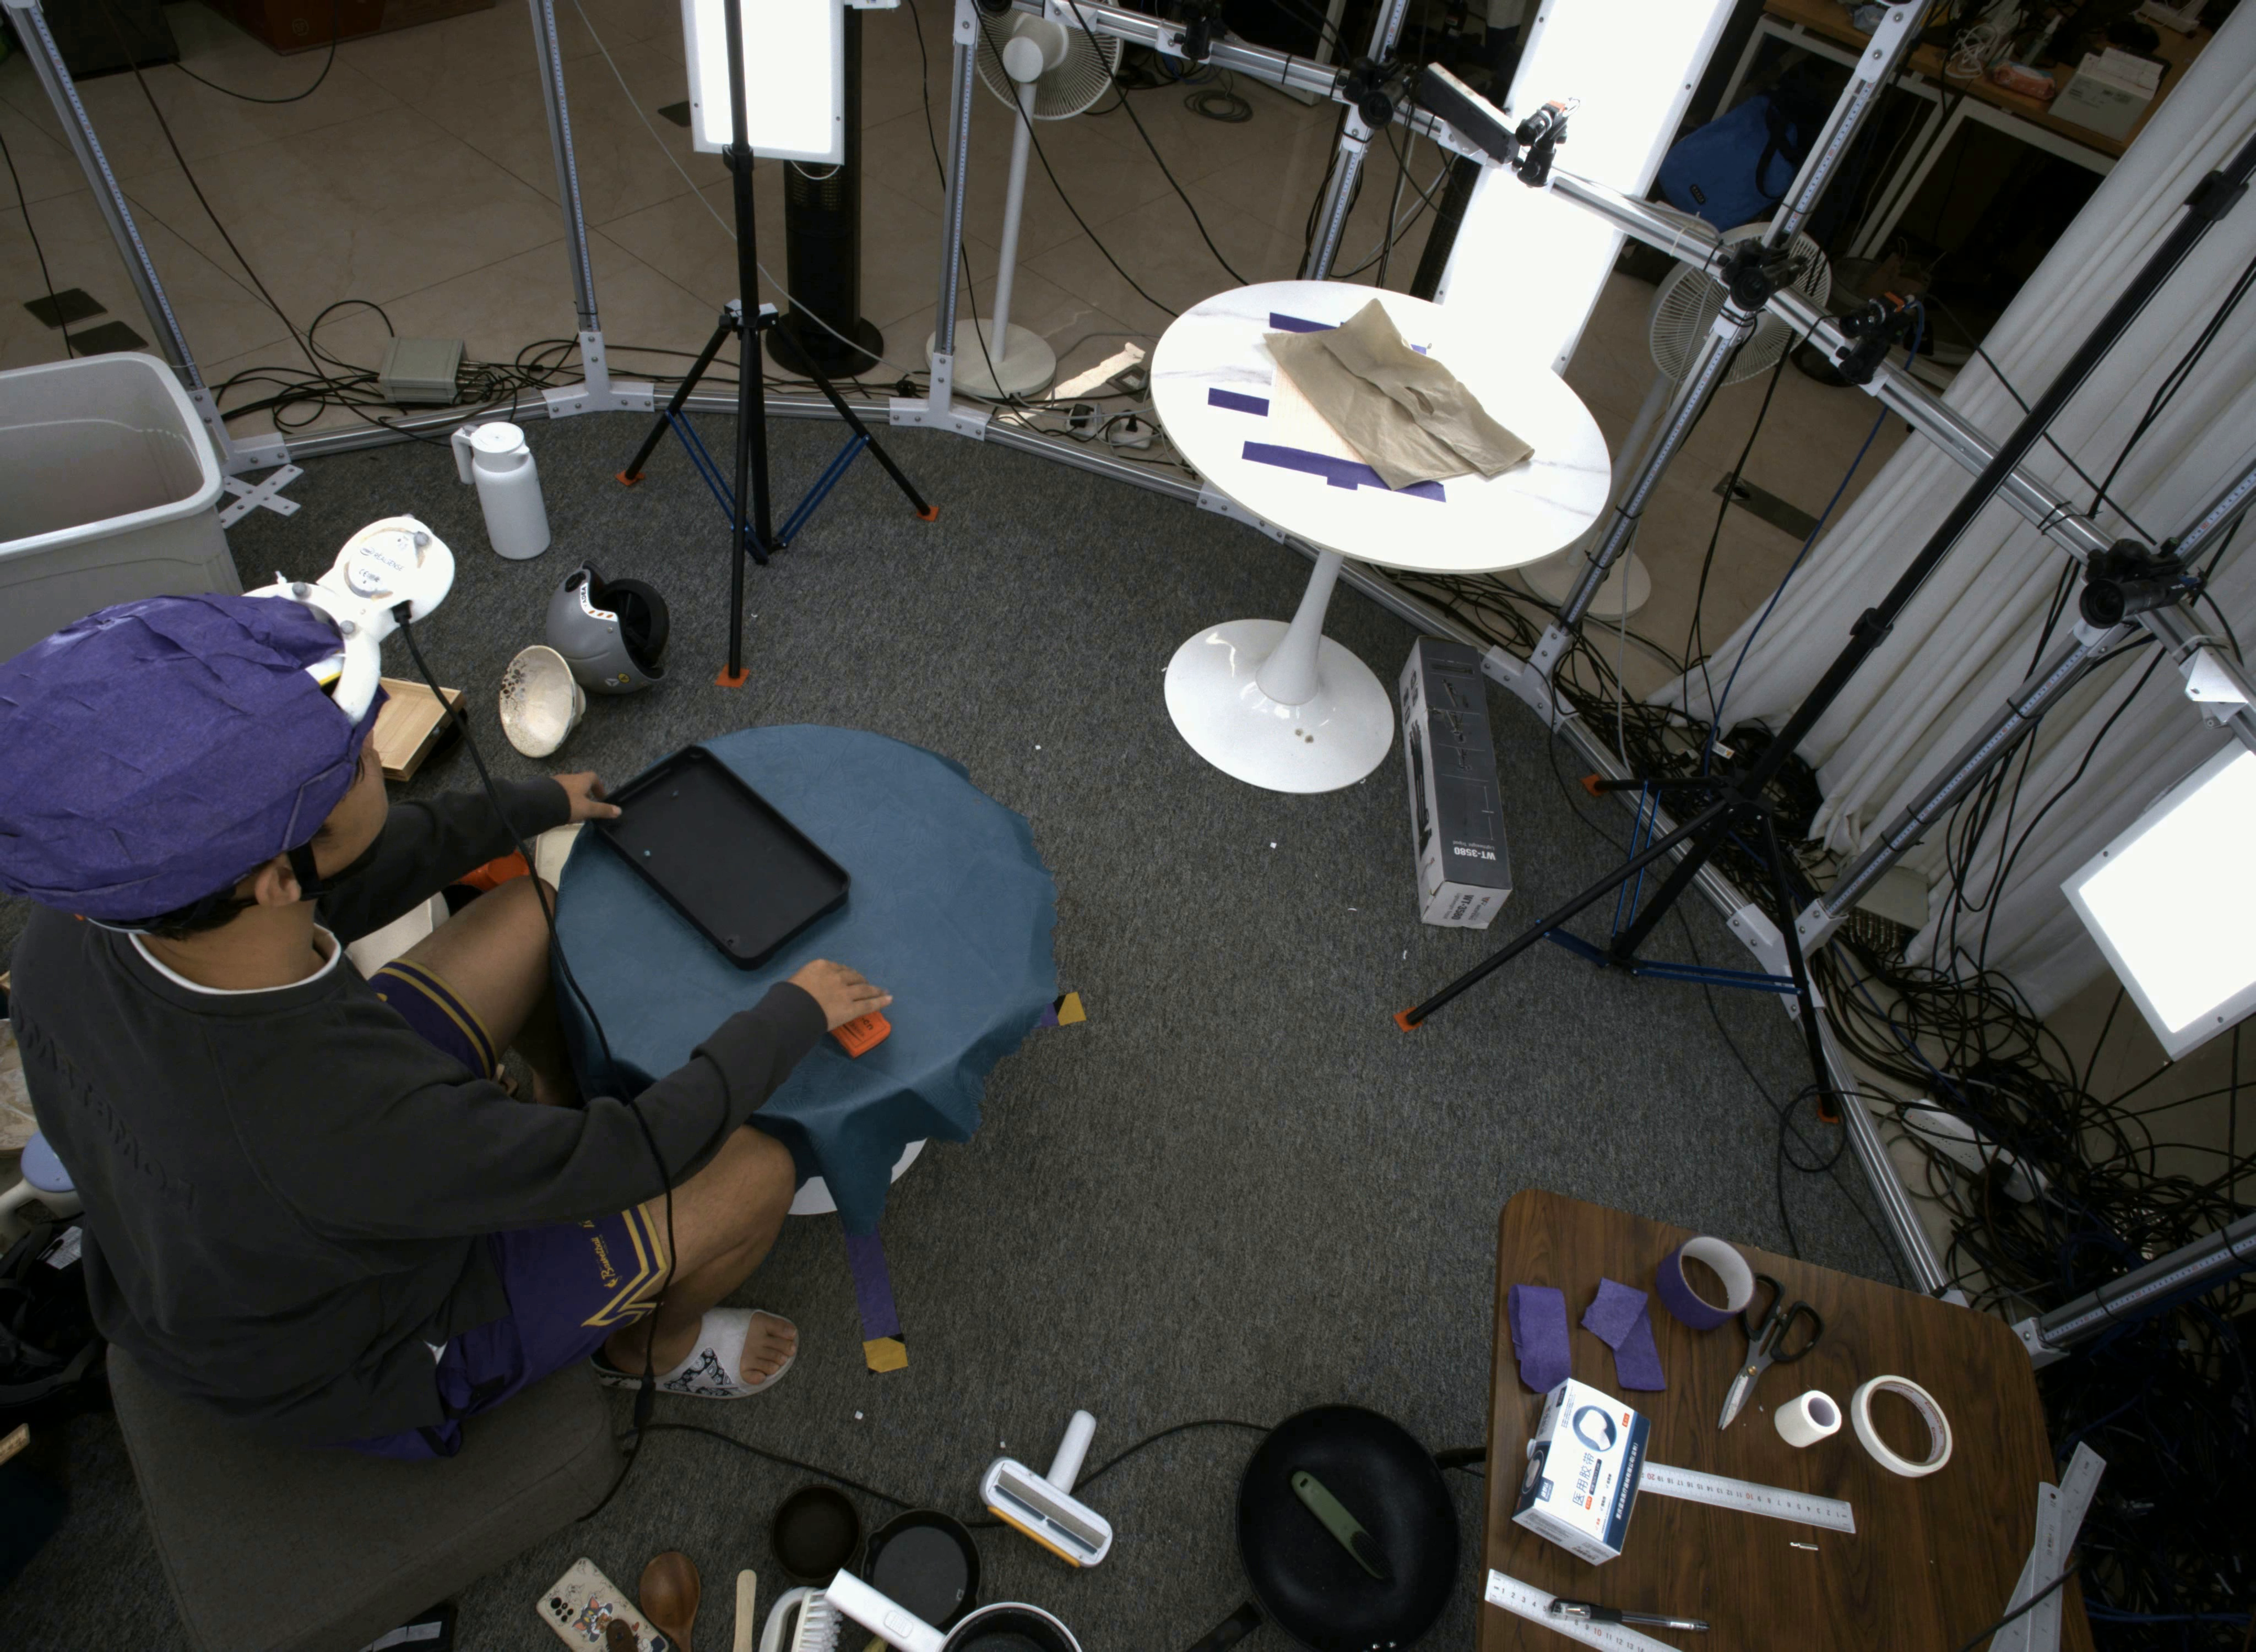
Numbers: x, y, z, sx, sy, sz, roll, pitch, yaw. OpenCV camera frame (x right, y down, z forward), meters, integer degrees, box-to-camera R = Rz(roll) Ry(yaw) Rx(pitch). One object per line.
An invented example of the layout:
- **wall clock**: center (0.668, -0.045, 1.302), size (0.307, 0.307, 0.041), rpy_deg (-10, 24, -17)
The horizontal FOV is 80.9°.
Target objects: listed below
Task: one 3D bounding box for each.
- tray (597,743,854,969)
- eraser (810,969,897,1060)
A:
- **tray**: center (-0.520, 0.032, 1.658), size (0.312, 0.038, 0.184), rpy_deg (38, 54, 14)
- **eraser**: center (-0.332, 0.223, 1.567), size (0.059, 0.023, 0.106), rpy_deg (-37, 71, -25)
